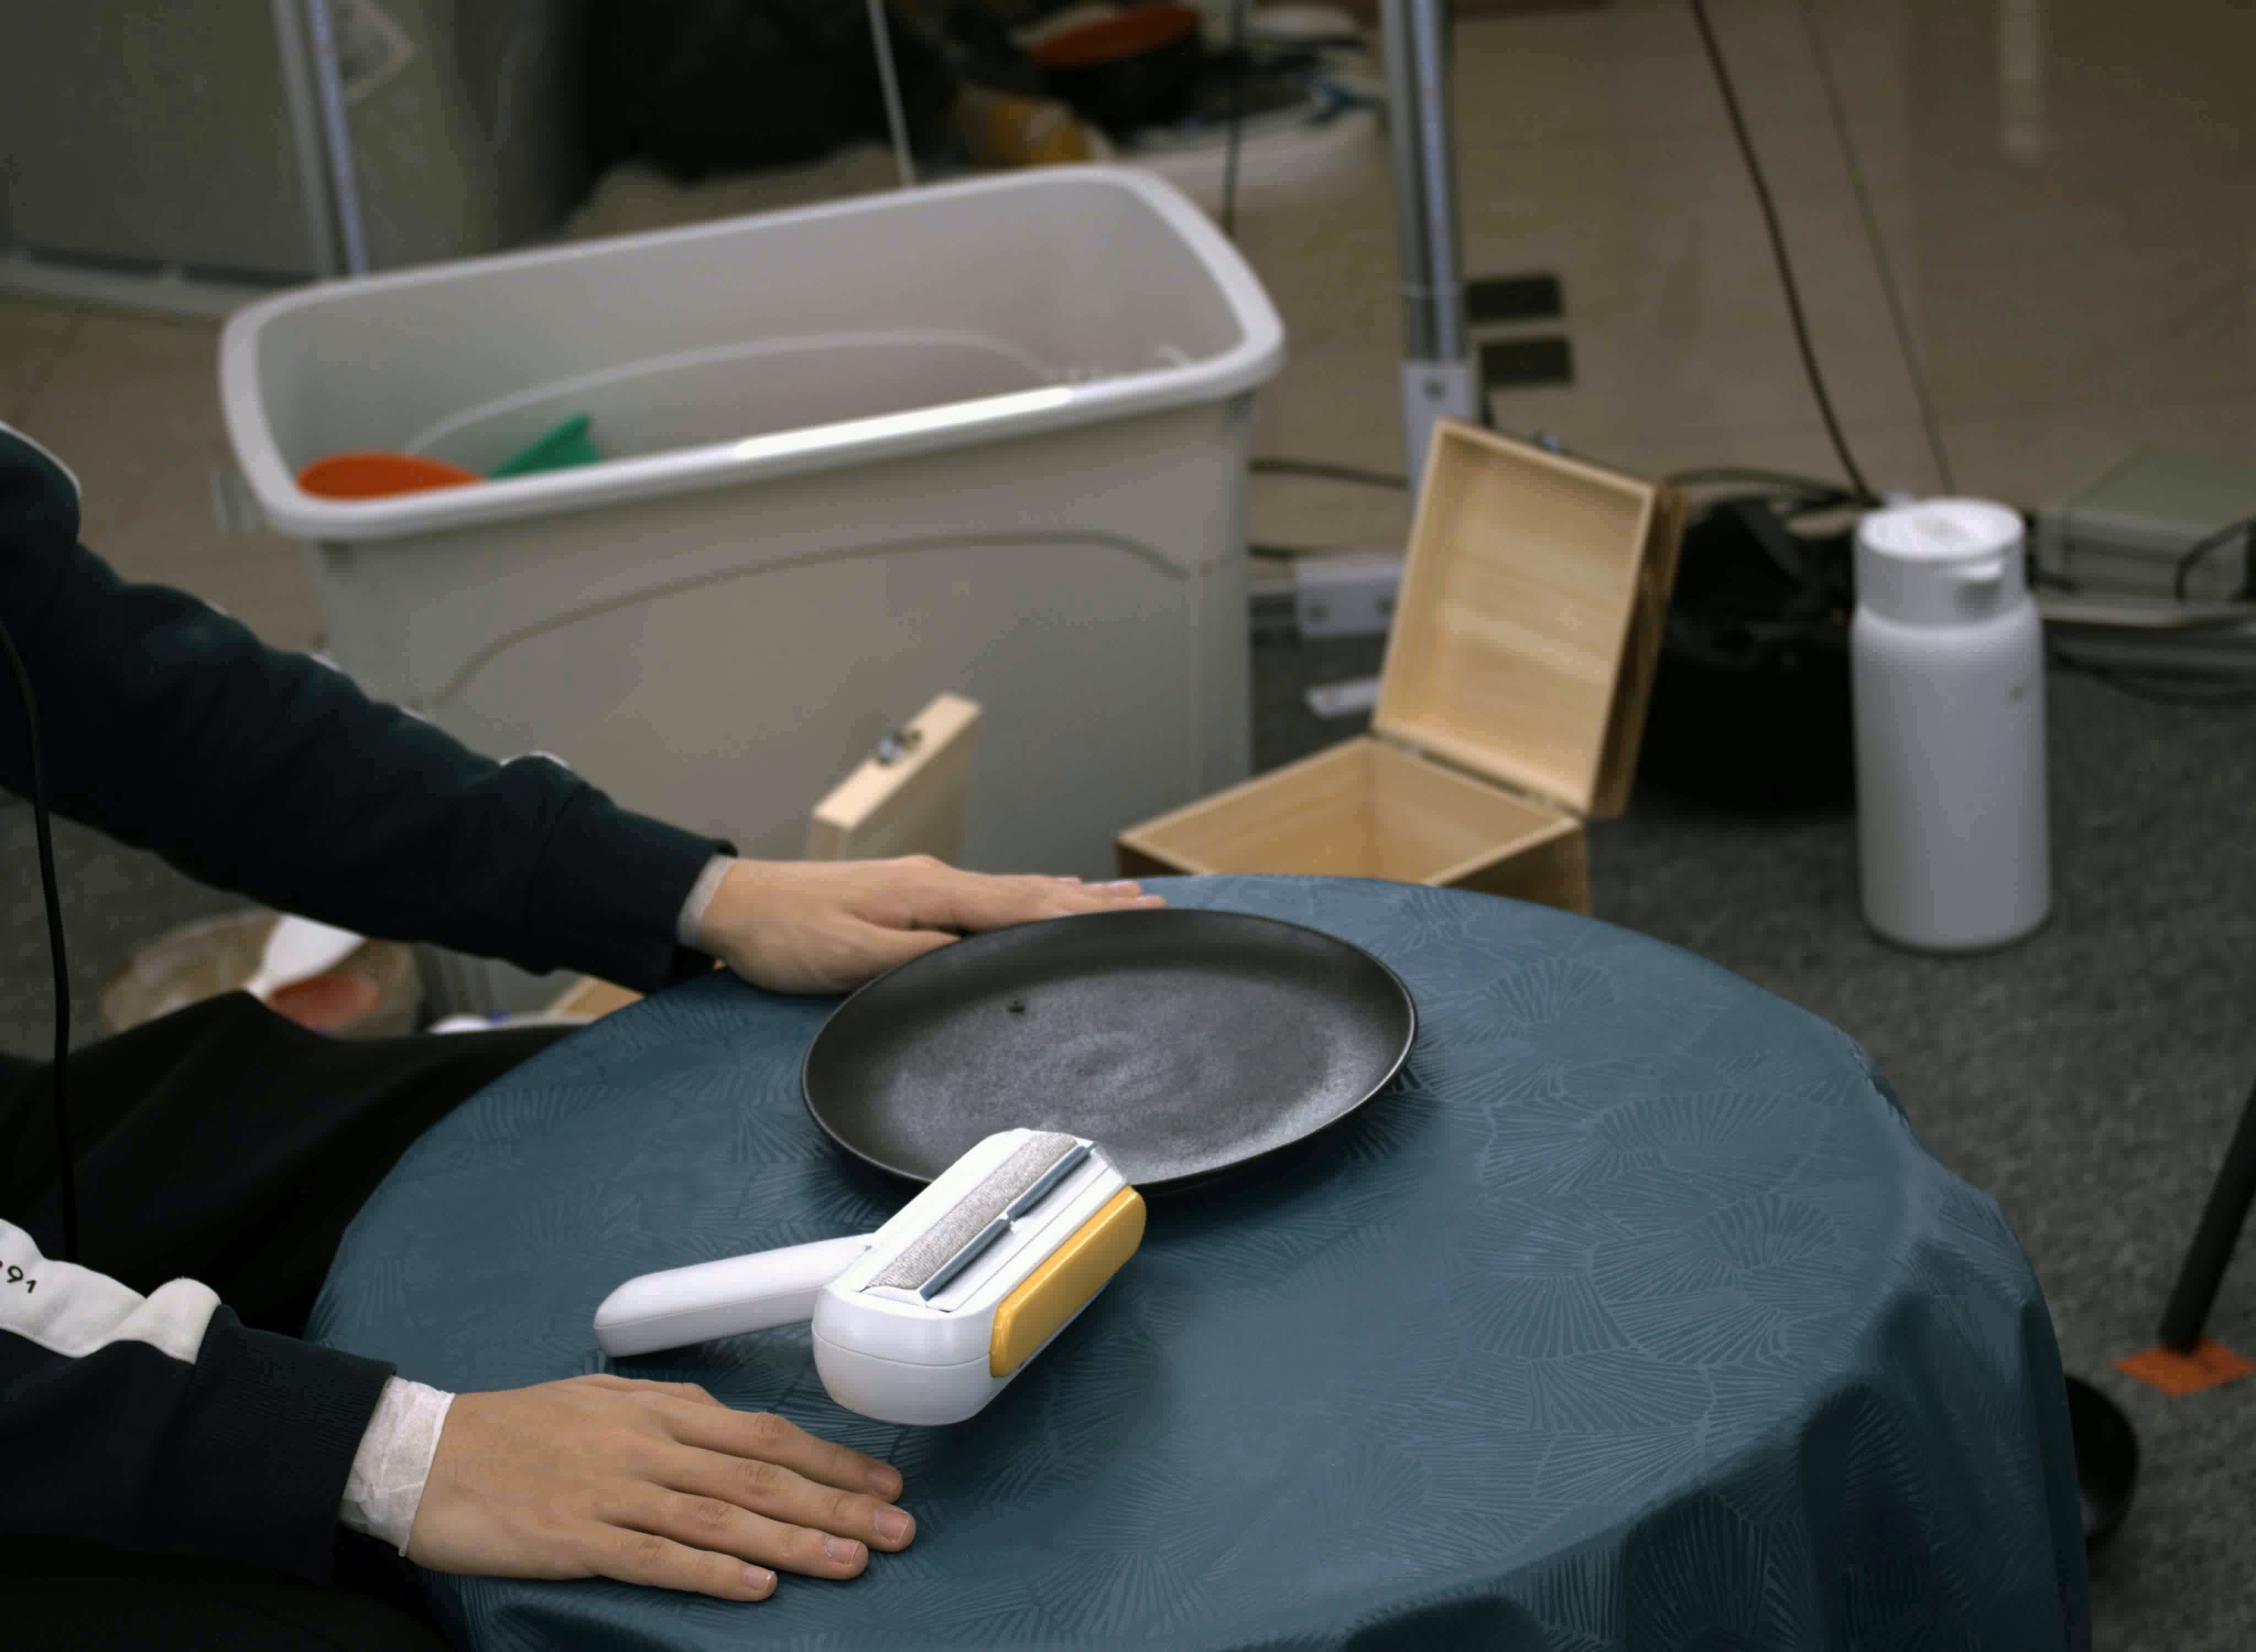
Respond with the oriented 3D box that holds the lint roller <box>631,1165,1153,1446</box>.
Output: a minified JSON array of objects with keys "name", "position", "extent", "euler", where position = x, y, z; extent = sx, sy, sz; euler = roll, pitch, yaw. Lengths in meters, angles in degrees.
[{"name":"lint roller","position":[-0.102,0.182,2.041],"extent":[0.192,0.075,0.191],"euler":[-10,14,30]}]

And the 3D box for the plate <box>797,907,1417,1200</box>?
[{"name":"plate","position":[-0.007,0.094,2.215],"extent":[0.244,0.024,0.241],"euler":[-5,25,3]}]
